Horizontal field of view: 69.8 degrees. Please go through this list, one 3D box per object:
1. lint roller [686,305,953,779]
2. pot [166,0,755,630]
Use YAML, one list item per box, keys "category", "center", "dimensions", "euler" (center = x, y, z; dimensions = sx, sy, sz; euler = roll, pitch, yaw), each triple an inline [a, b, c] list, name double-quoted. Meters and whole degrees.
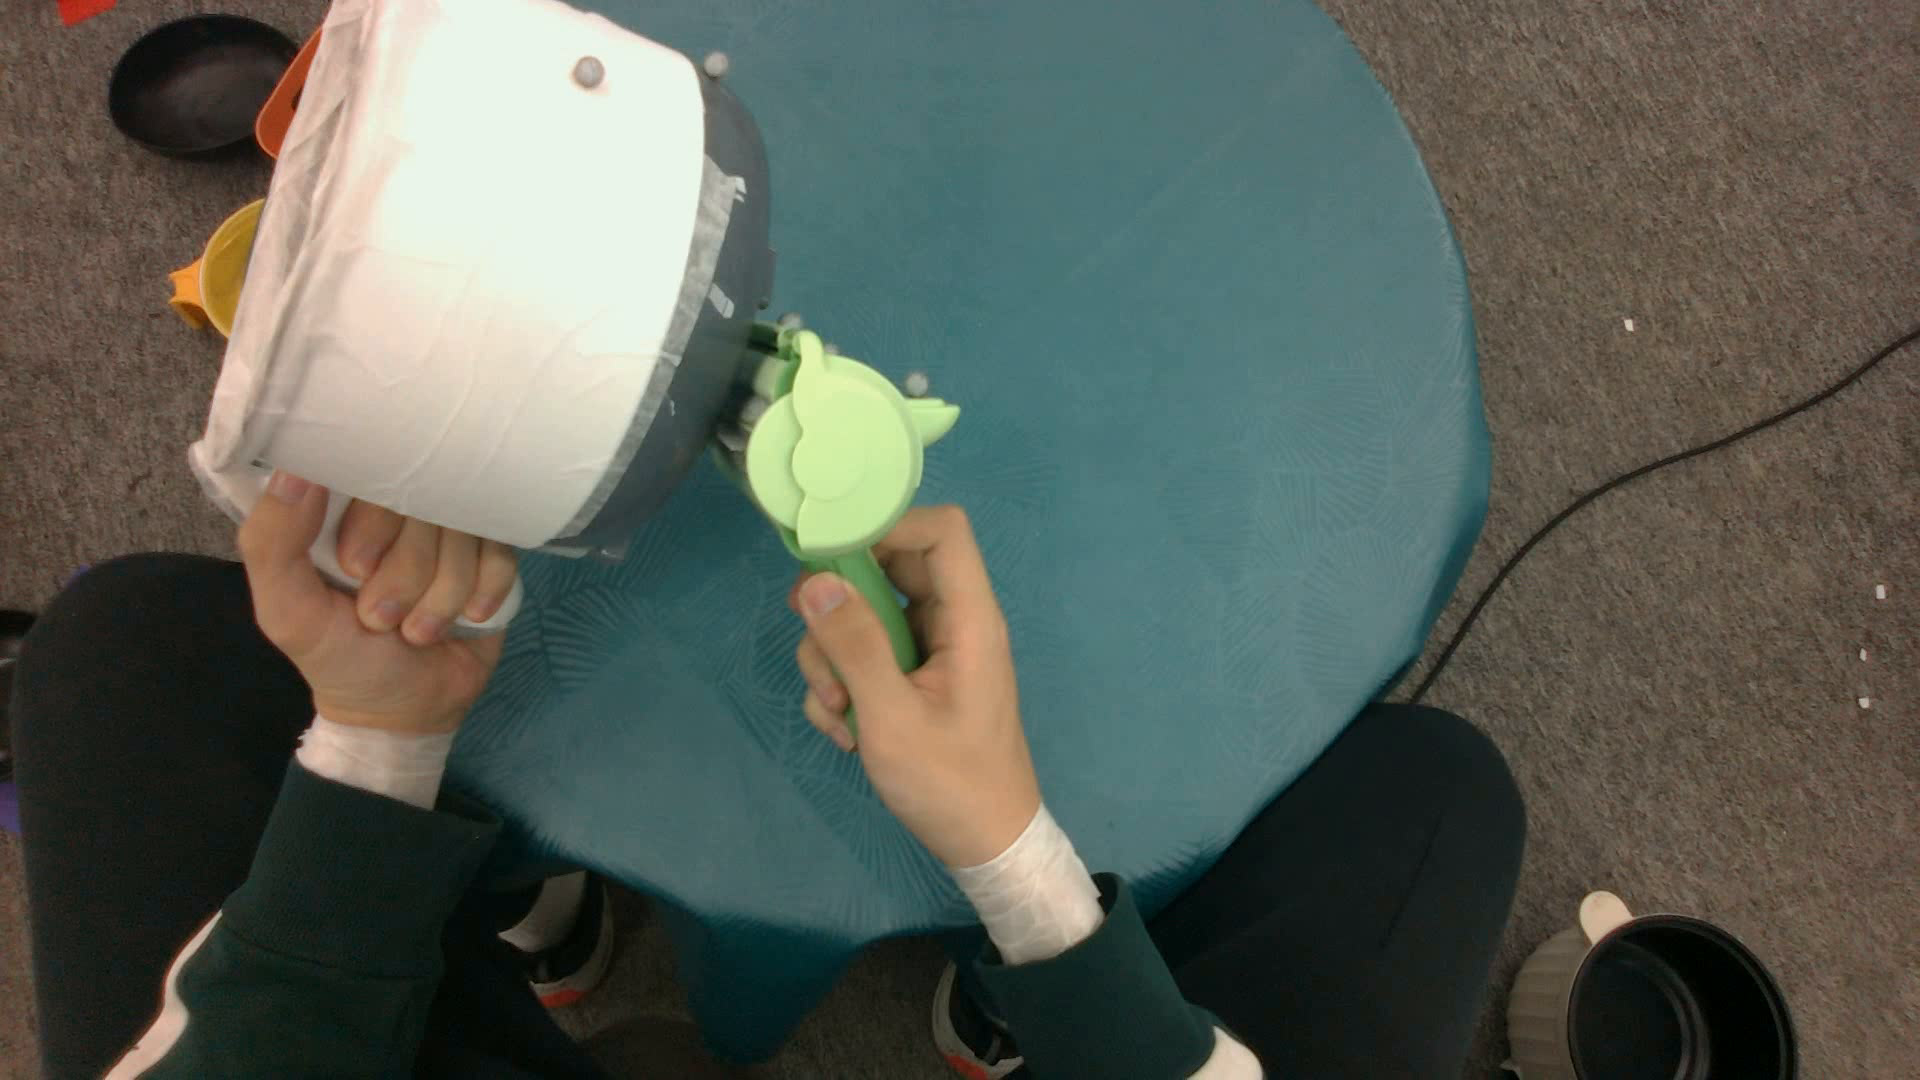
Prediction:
- category: "lint roller"
  center: [-0.034, -0.003, 0.508]
  dimensions: [0.082, 0.198, 0.183]
  euler: [-31, 107, -10]
- category: "pot"
  center: [-0.176, -0.071, 0.472]
  dimensions: [0.137, 0.233, 0.179]
  euler: [17, 25, -34]
